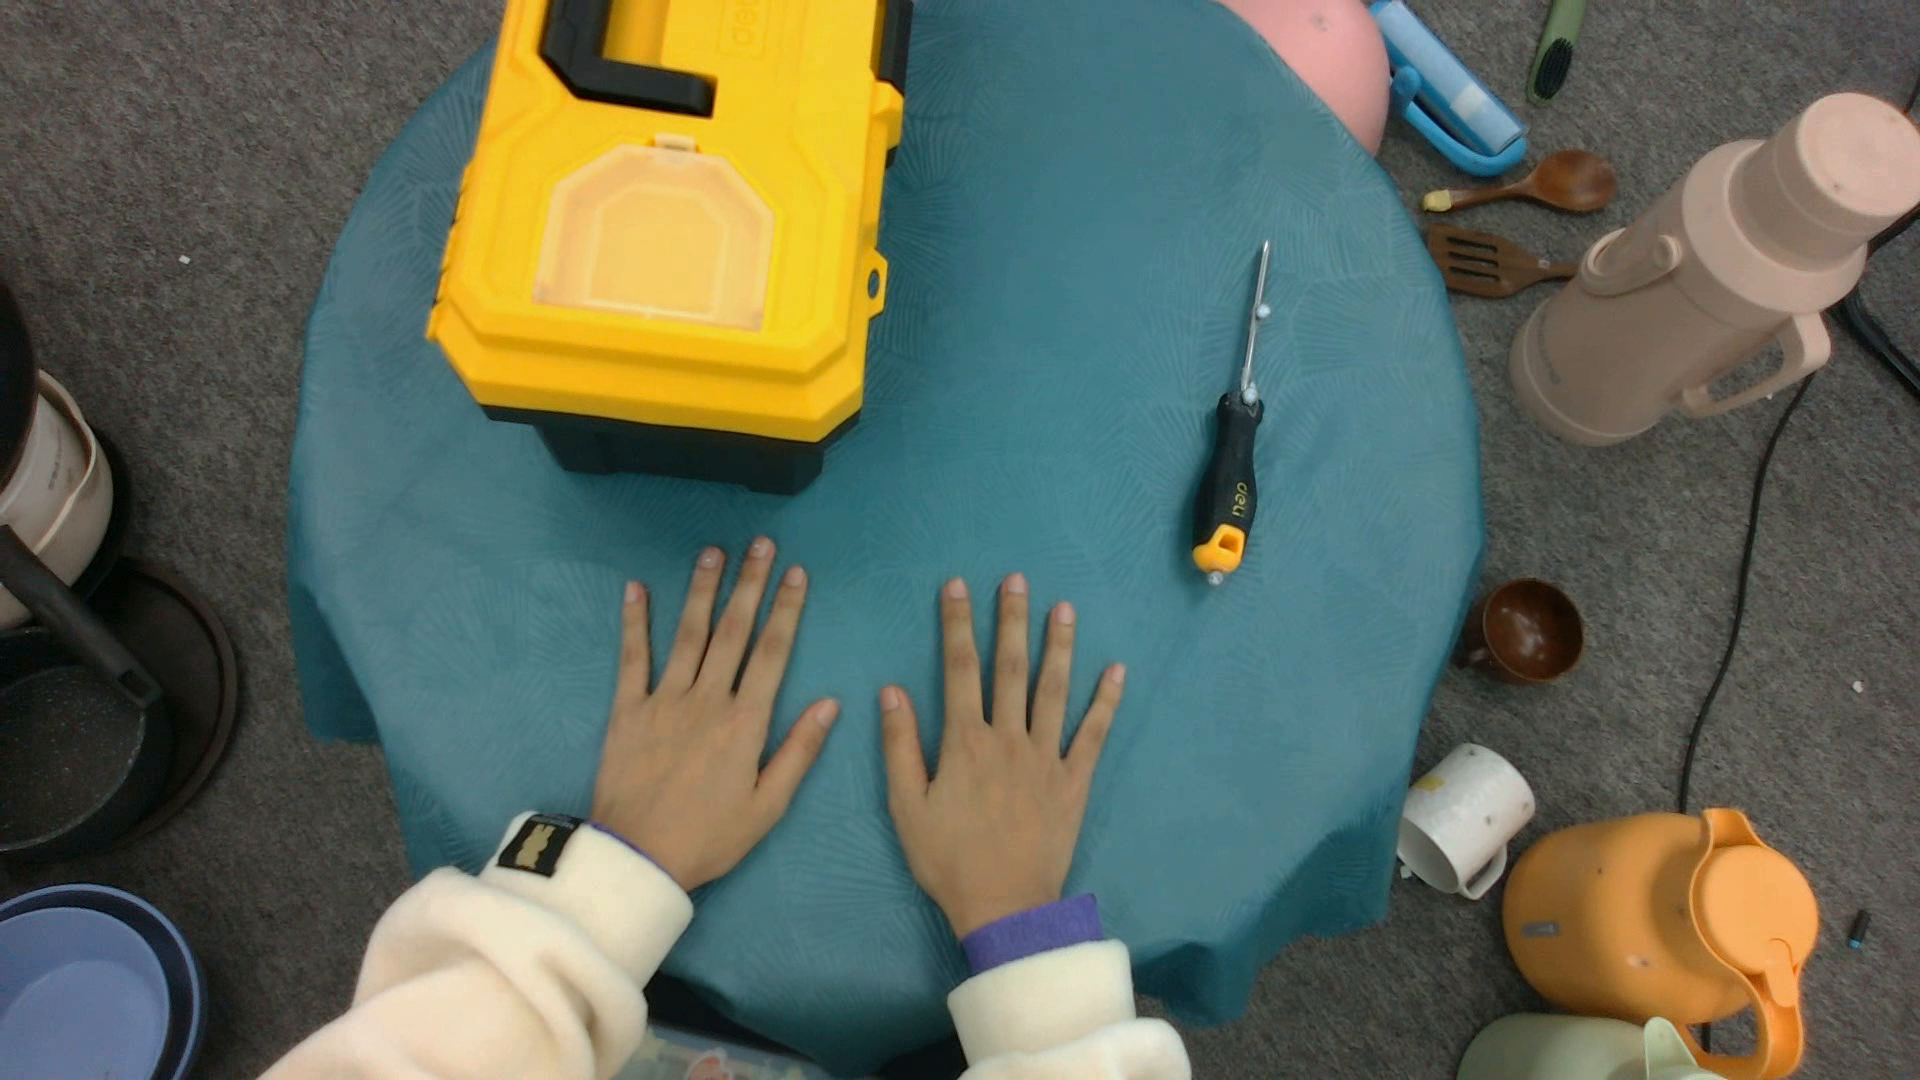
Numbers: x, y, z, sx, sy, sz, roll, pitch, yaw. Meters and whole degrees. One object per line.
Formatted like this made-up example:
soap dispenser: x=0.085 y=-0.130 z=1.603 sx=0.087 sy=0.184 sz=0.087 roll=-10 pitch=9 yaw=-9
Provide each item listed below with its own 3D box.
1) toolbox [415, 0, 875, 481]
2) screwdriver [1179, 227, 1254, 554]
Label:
toolbox: x=-0.124 y=-0.207 z=0.640 sx=0.181 sy=0.172 sz=0.352 roll=6 pitch=71 yaw=-6
screwdriver: x=0.141 y=-0.084 z=0.713 sx=0.031 sy=0.031 sz=0.197 roll=15 pitch=69 yaw=-2
